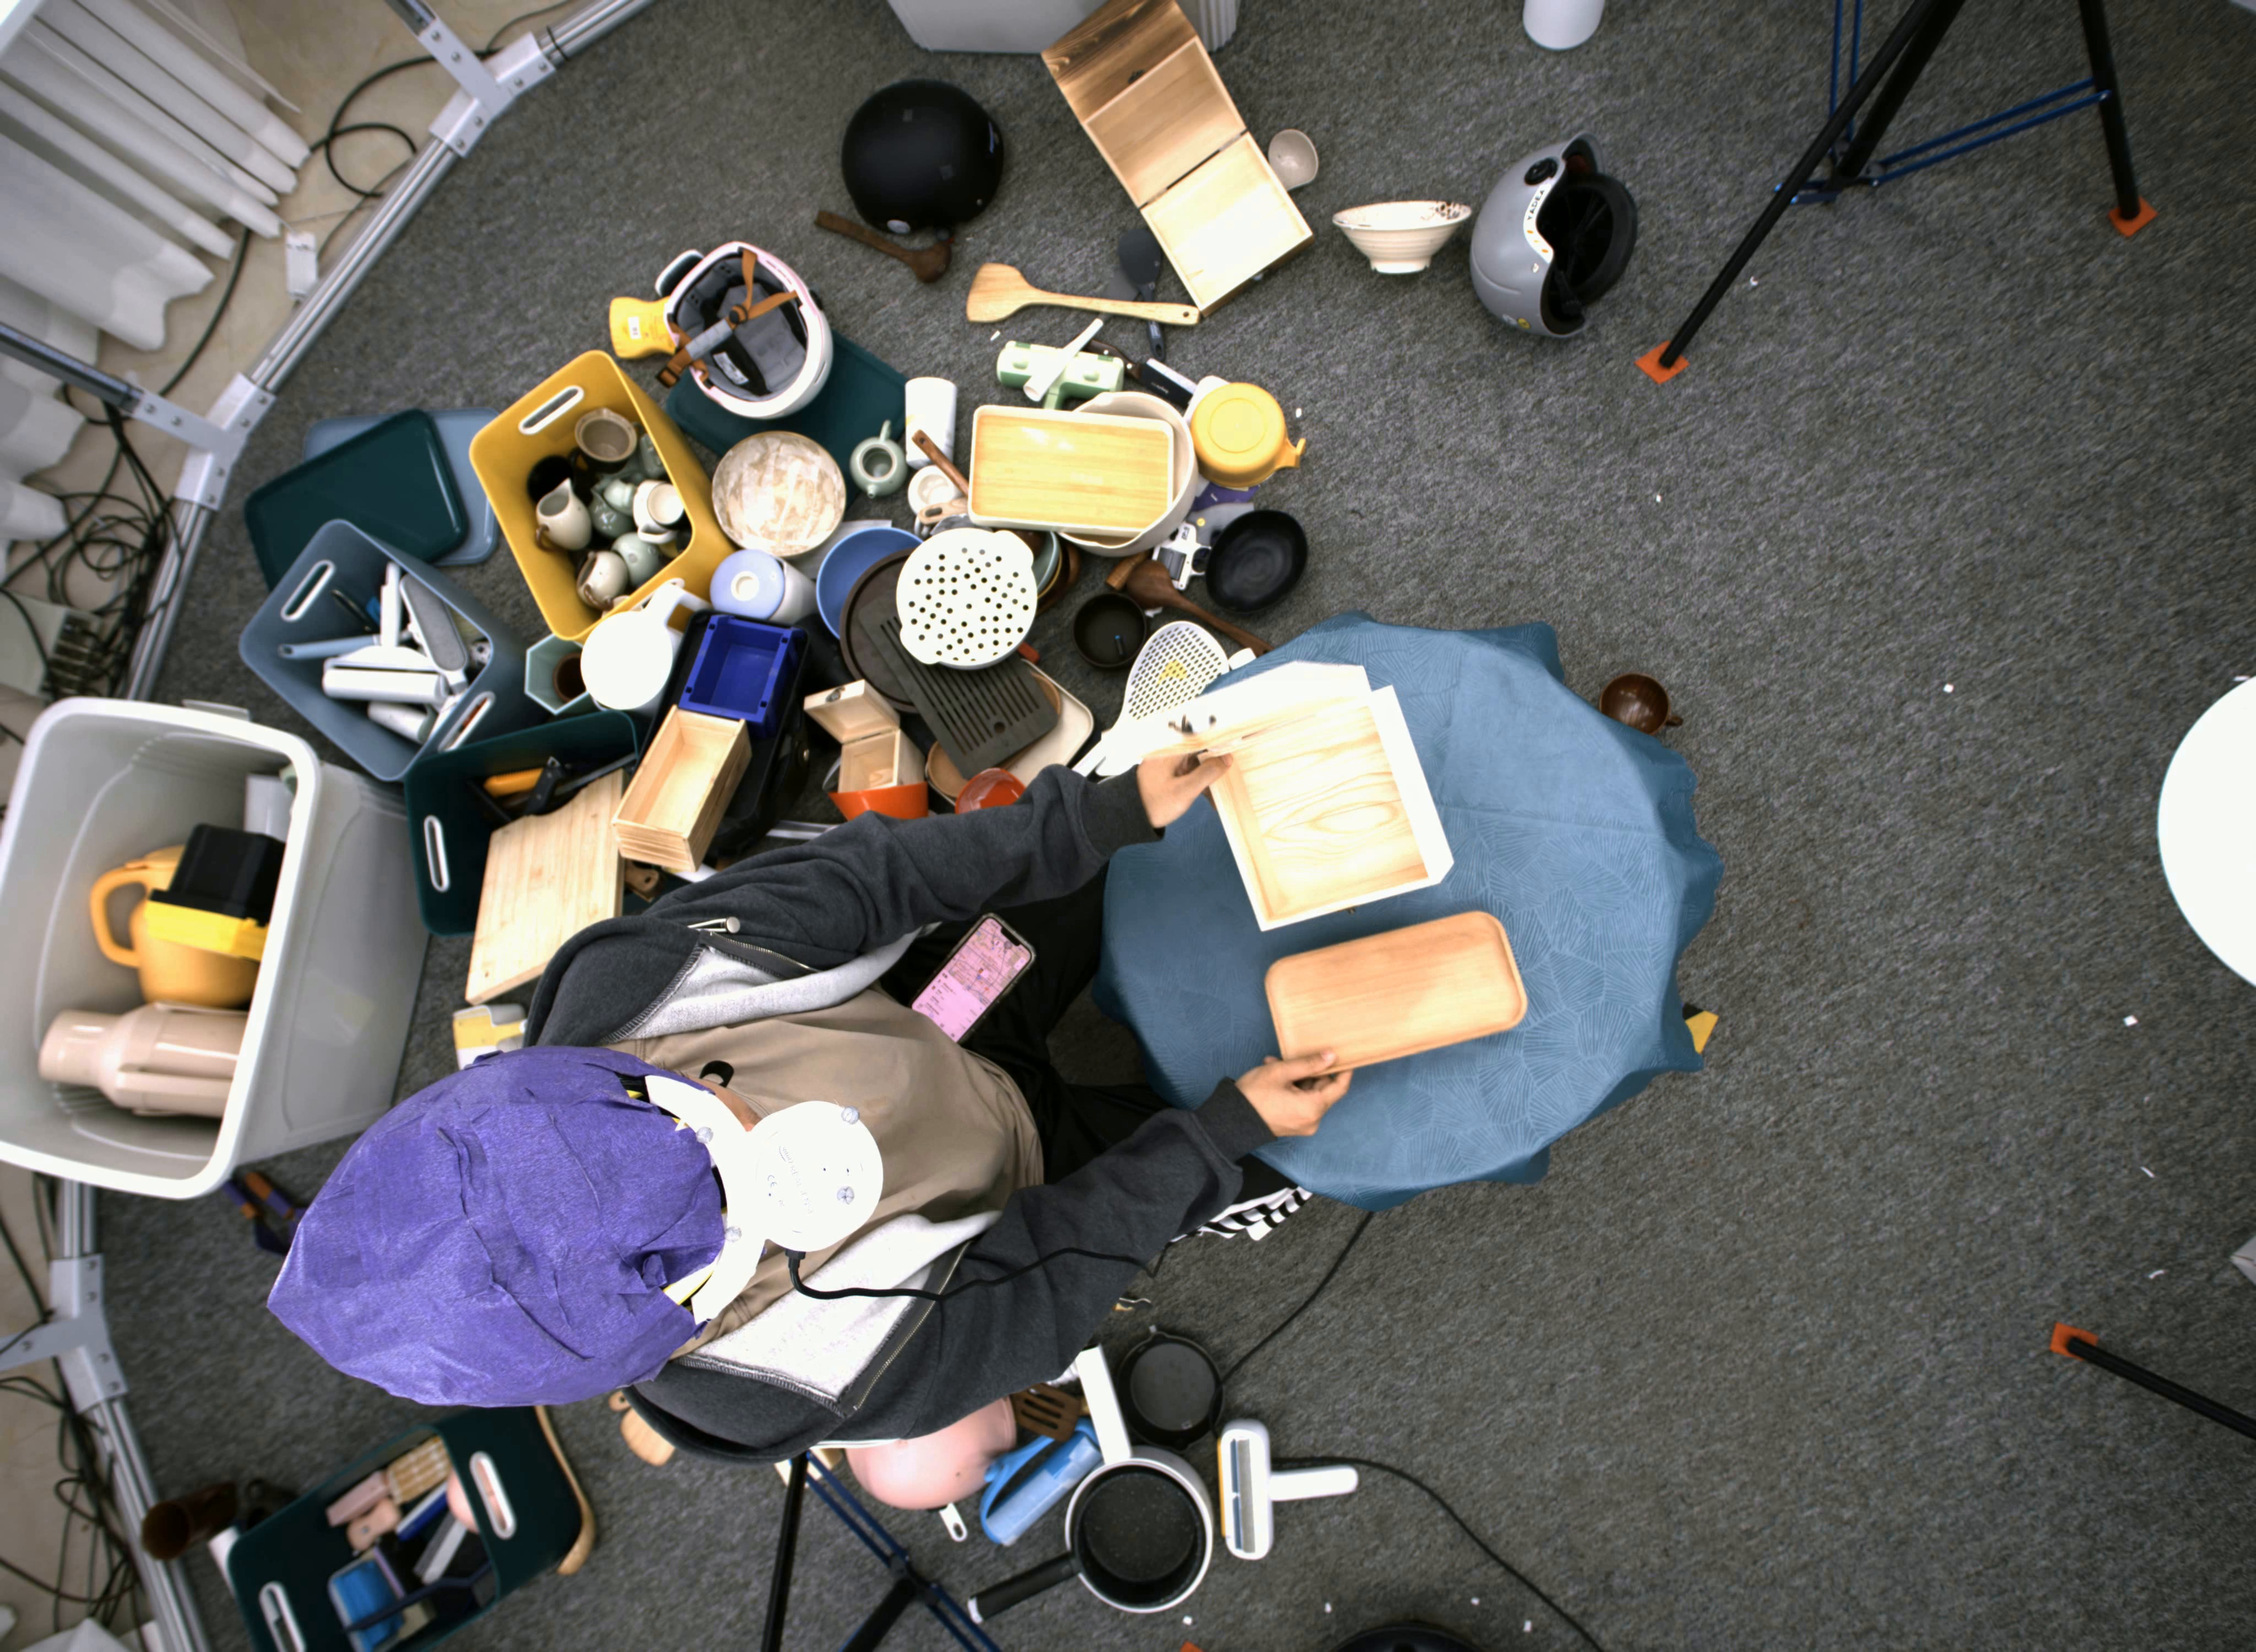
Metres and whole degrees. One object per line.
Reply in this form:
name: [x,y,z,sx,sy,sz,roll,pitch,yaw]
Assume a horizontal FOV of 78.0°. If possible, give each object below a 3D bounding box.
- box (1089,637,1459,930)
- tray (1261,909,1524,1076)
box: [0.140,-0.028,1.223,0.184,0.249,0.266,-18,97,31]
tray: [0.265,0.167,1.396,0.251,0.023,0.128,-14,66,5]
